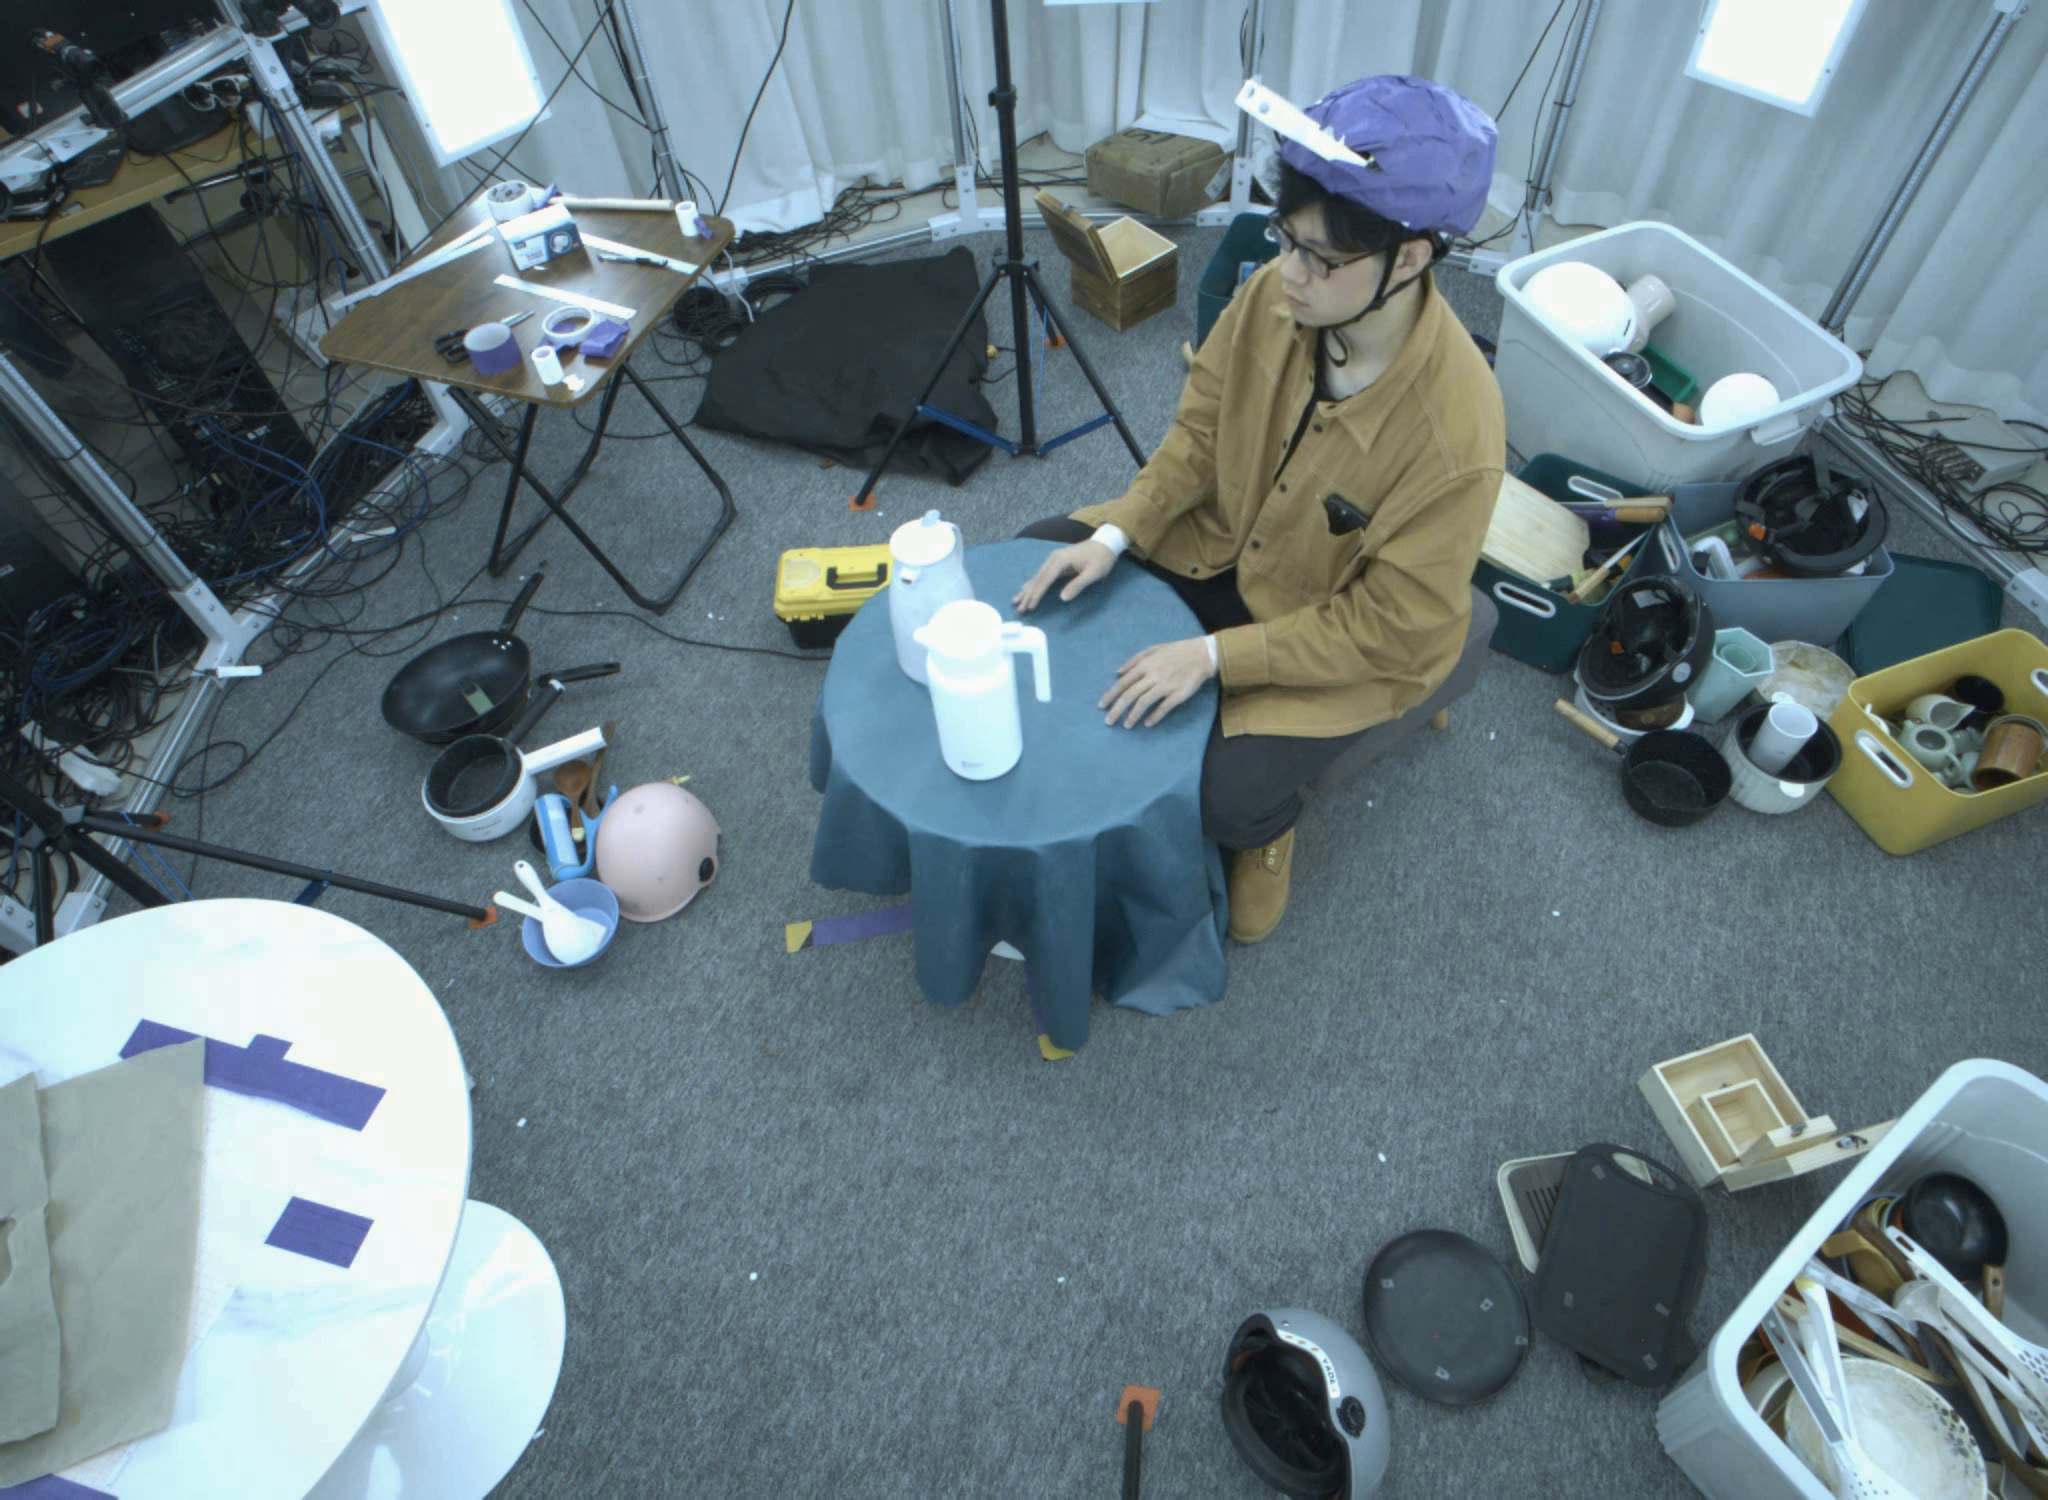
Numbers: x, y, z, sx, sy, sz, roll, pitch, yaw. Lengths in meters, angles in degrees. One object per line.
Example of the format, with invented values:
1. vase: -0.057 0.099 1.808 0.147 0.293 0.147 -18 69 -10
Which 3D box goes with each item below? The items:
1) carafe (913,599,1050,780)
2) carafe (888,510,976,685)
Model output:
1. carafe: -0.051 -0.080 1.677 0.173 0.272 0.122 -3 52 1
2. carafe: -0.132 -0.237 1.803 0.131 0.251 0.167 13 55 13
